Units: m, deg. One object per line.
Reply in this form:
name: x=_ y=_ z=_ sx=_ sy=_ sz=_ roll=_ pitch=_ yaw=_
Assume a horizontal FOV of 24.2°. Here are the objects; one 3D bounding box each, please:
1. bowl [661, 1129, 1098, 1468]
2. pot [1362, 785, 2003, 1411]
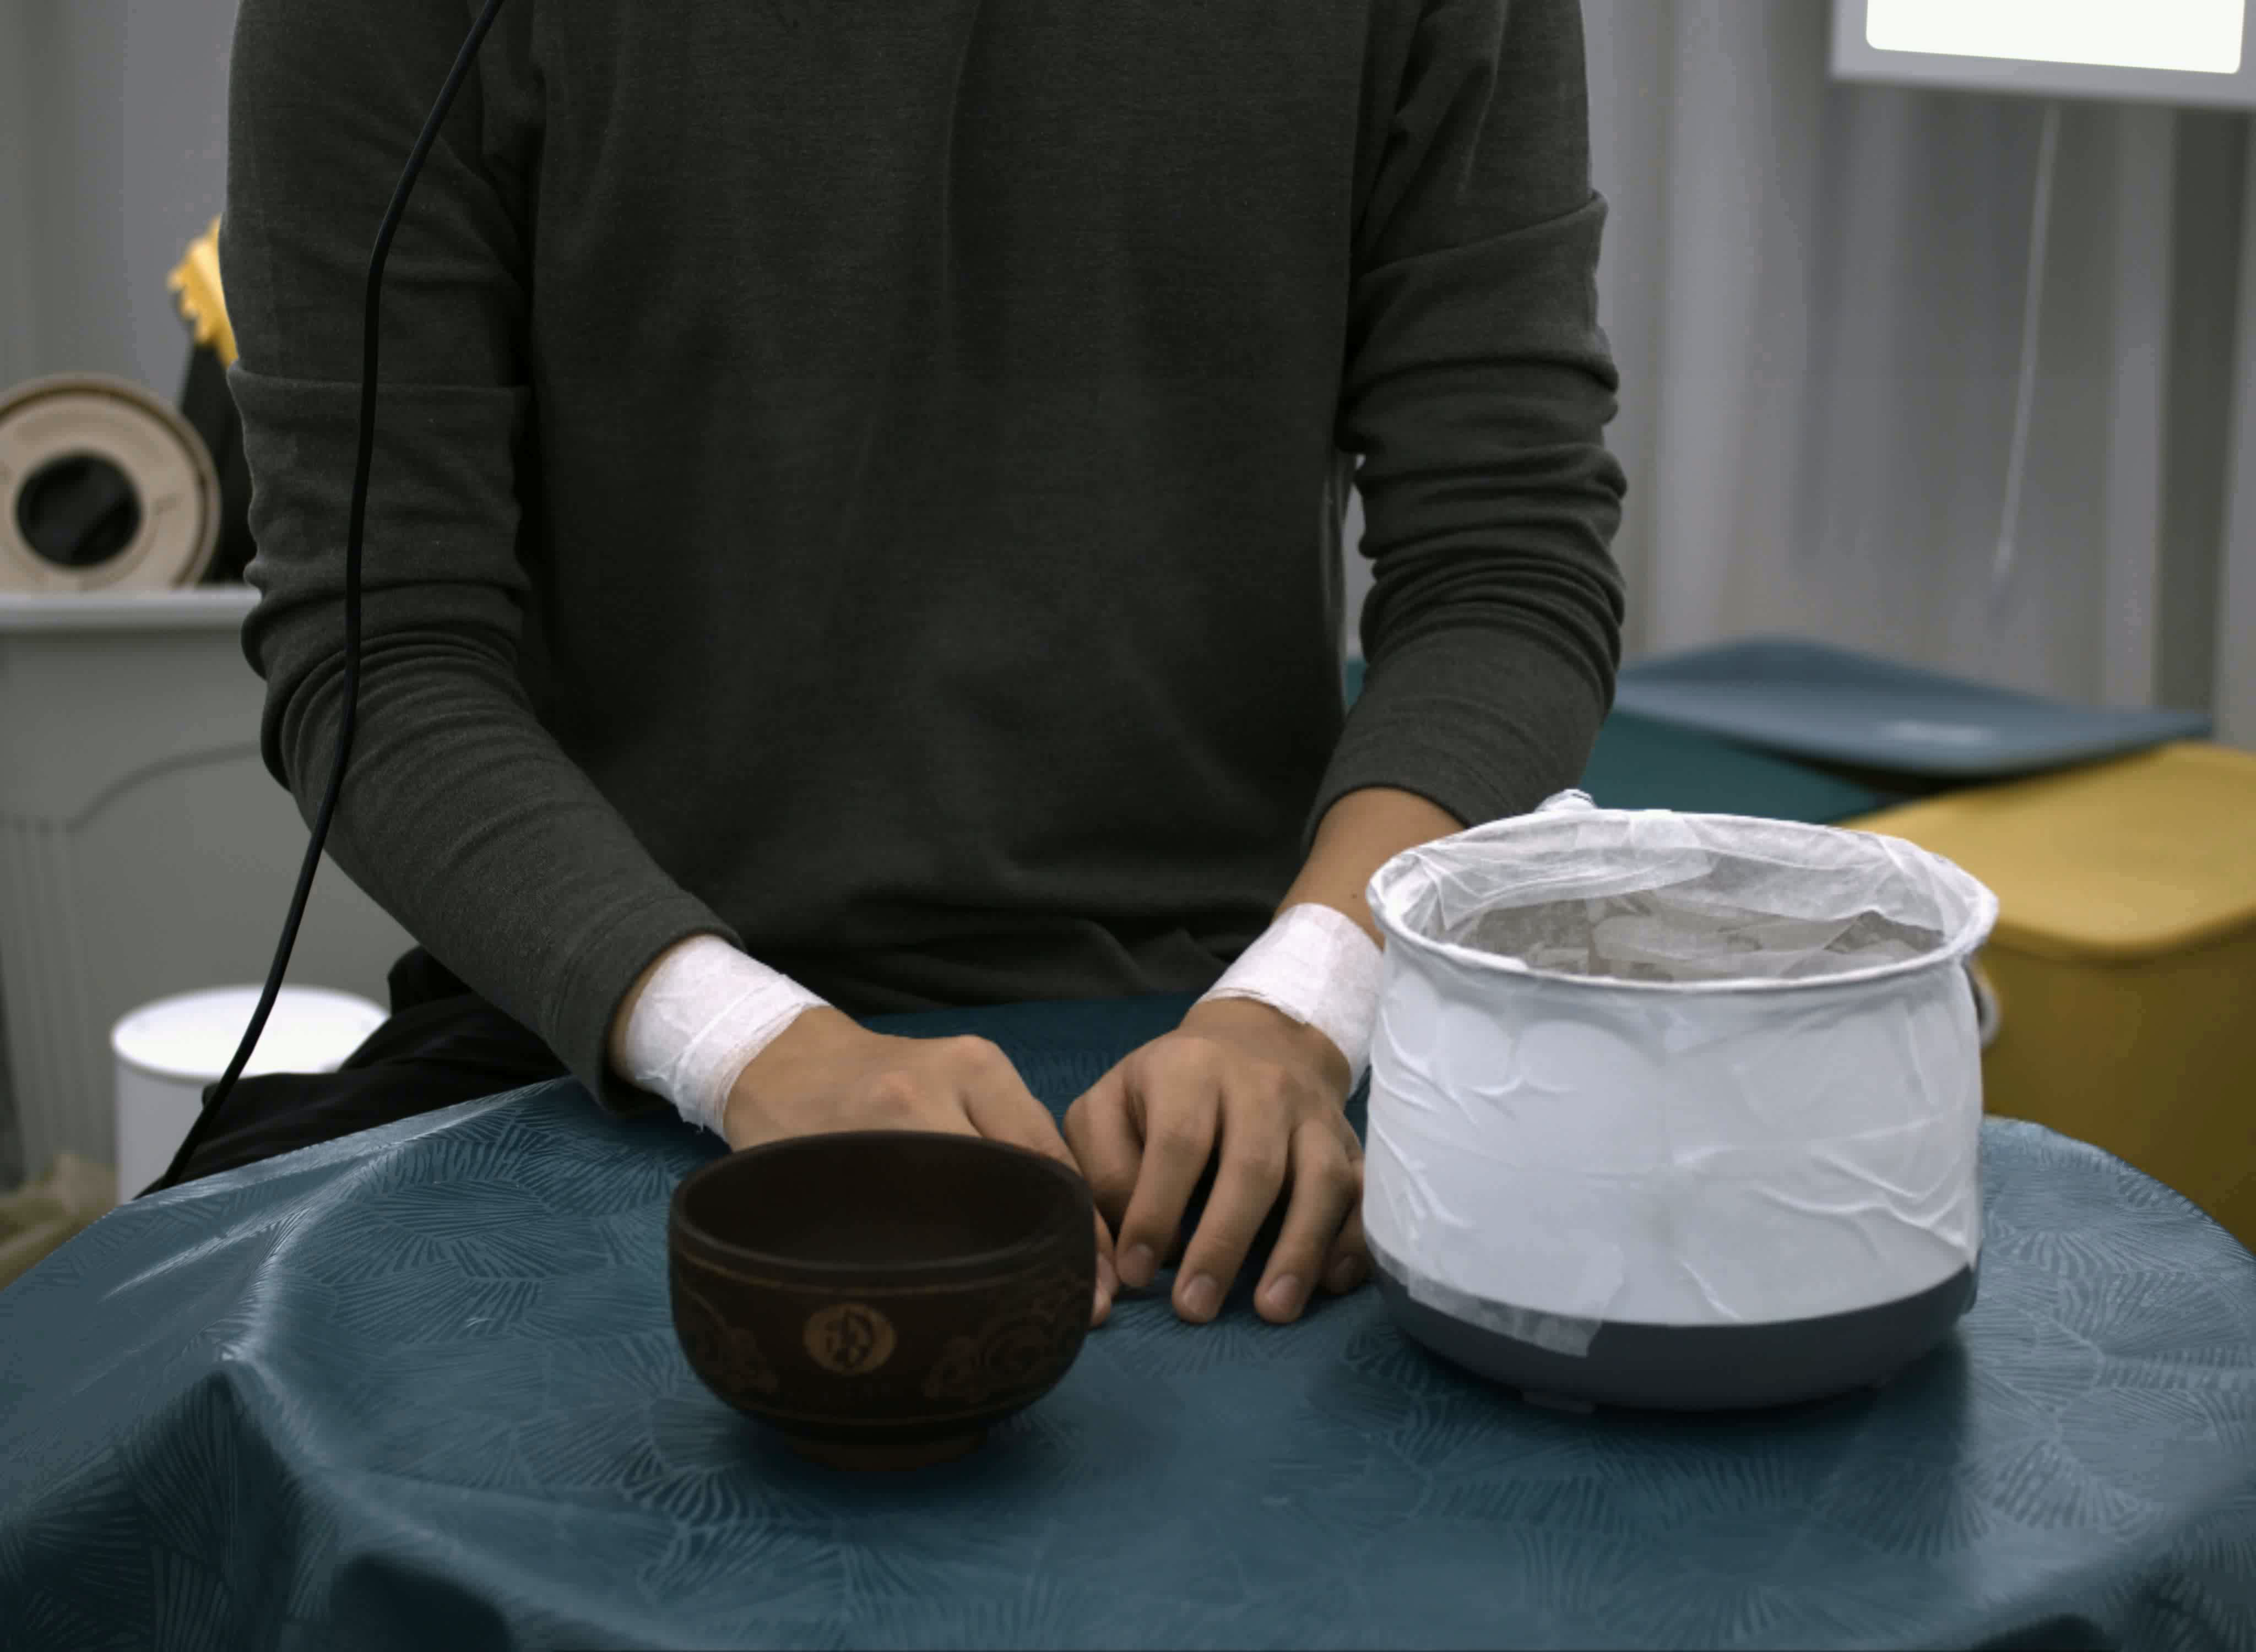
bowl: x=-0.066 y=0.131 z=1.420 sx=0.117 sy=0.070 sz=0.117 roll=0 pitch=14 yaw=1
pot: x=0.148 y=0.072 z=1.515 sx=0.179 sy=0.138 sz=0.231 roll=-3 pitch=16 yaw=-15
